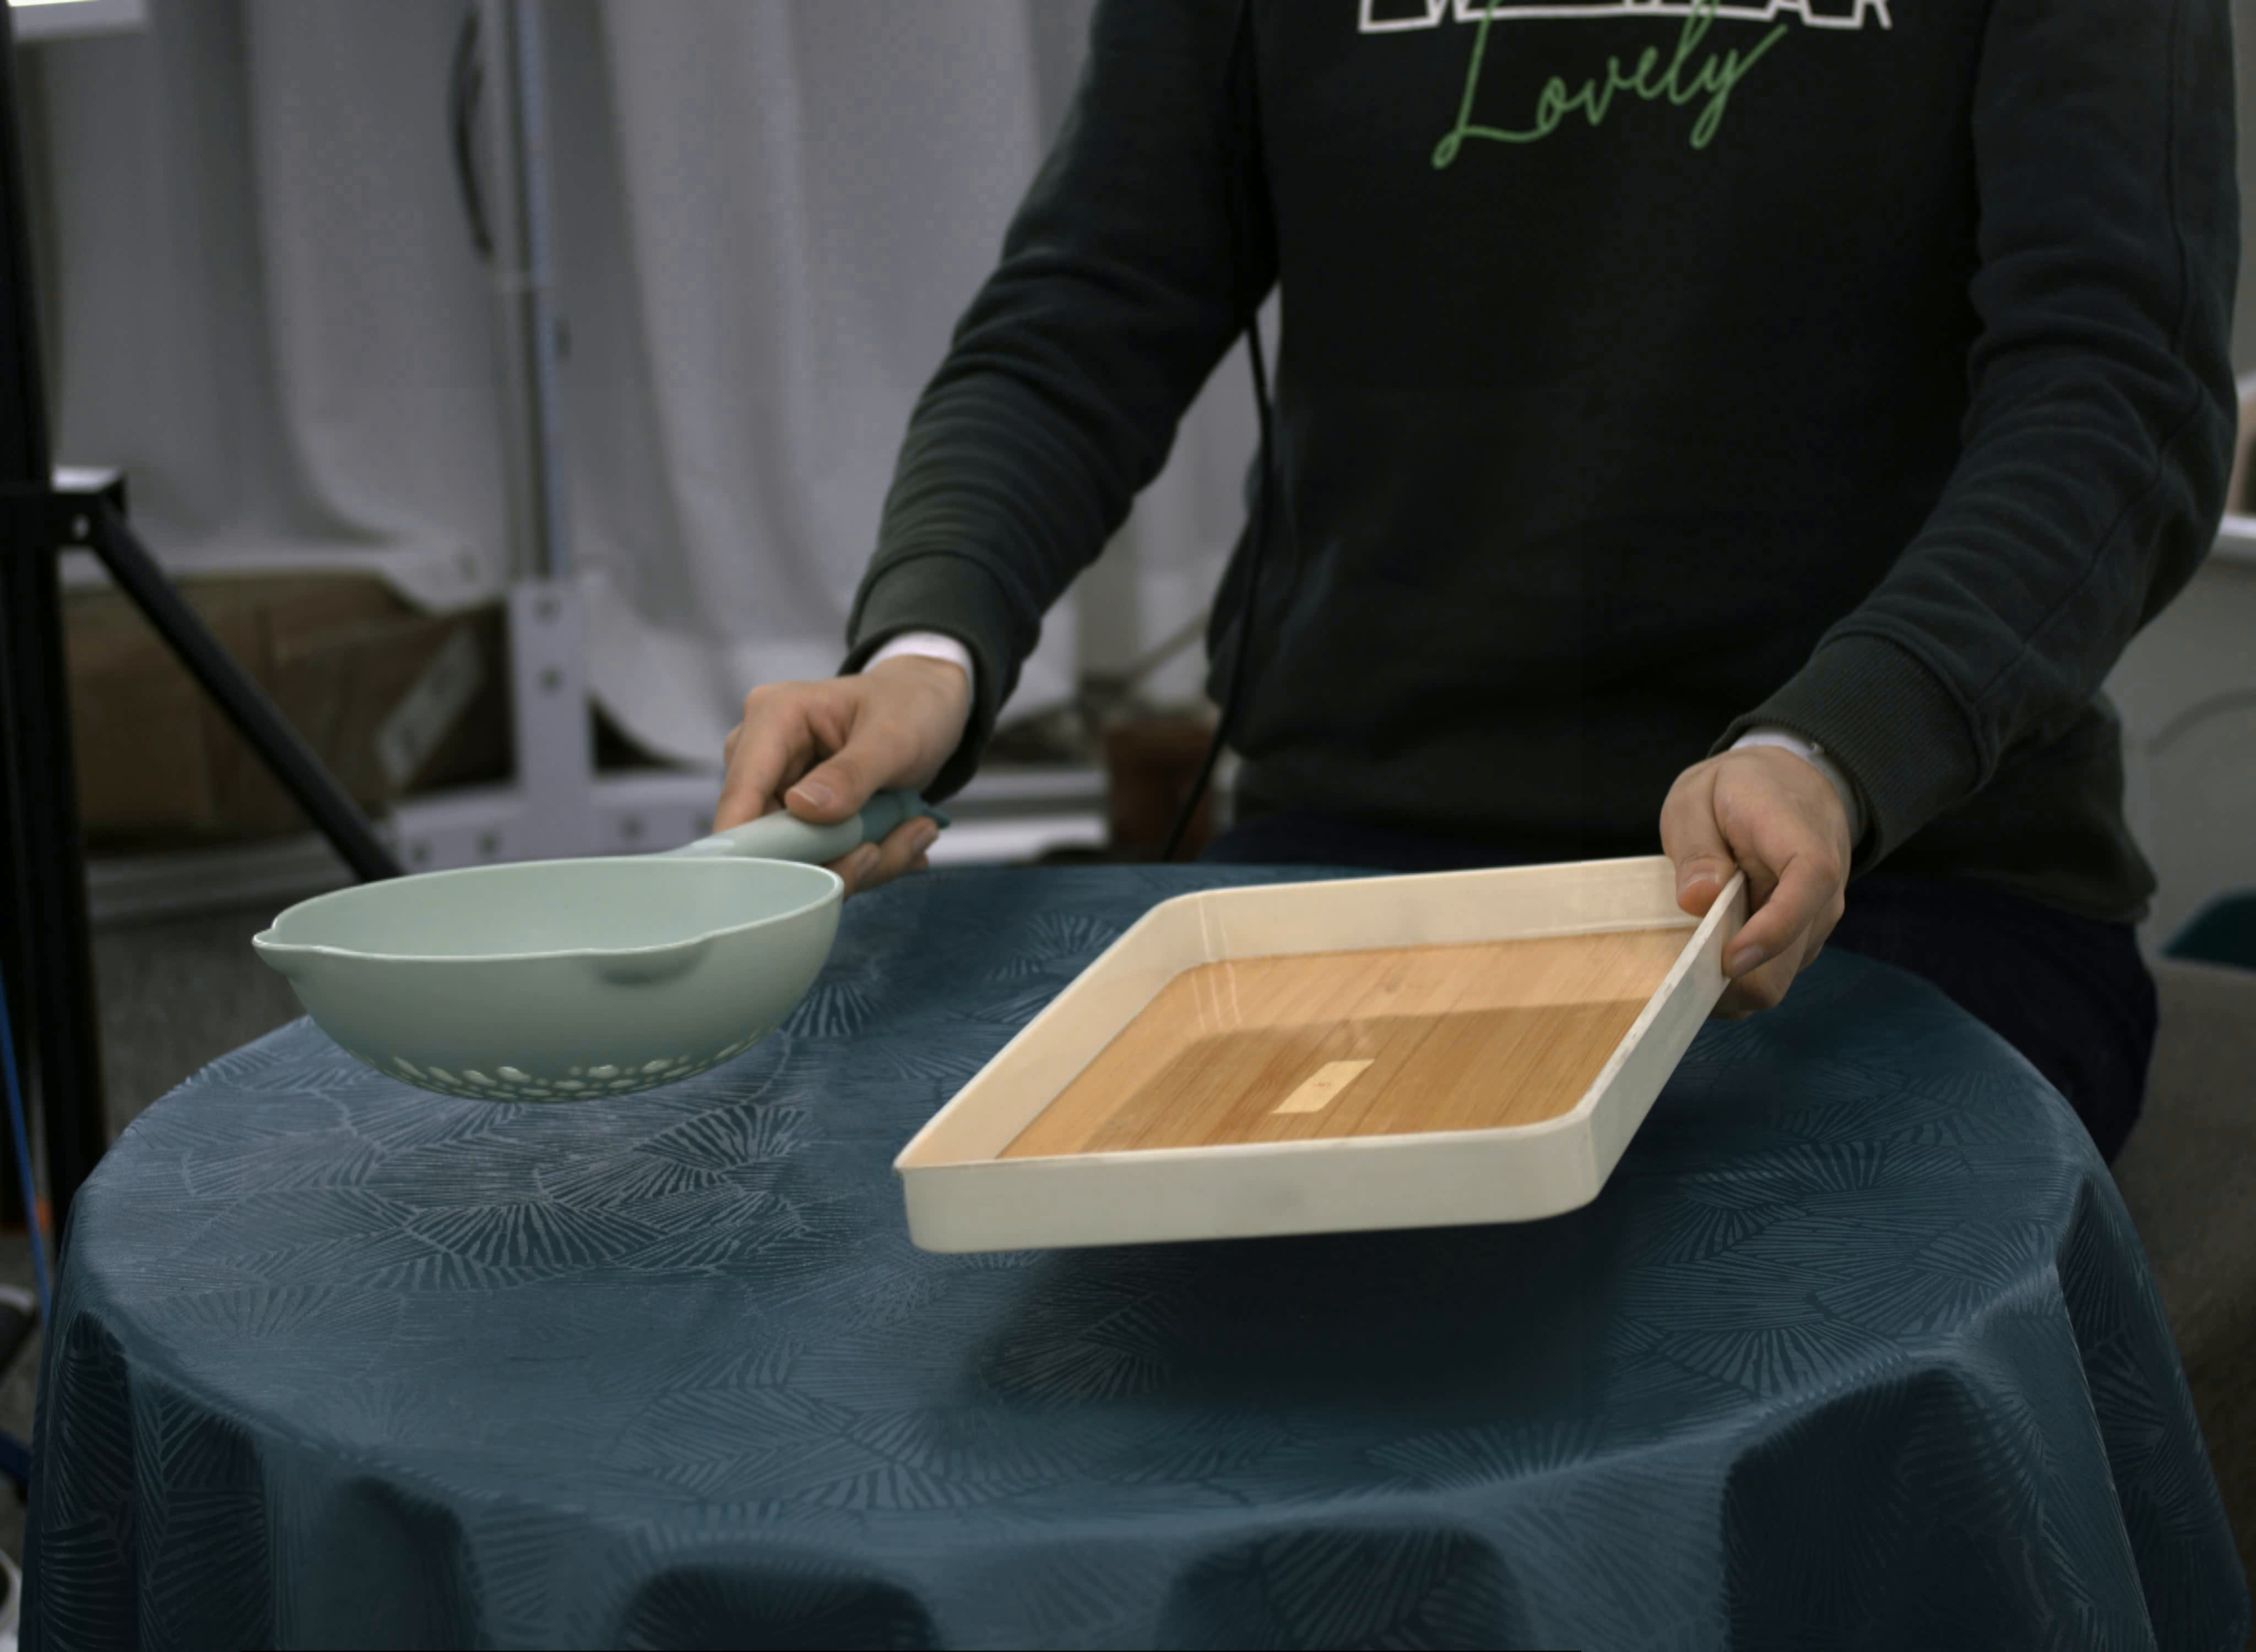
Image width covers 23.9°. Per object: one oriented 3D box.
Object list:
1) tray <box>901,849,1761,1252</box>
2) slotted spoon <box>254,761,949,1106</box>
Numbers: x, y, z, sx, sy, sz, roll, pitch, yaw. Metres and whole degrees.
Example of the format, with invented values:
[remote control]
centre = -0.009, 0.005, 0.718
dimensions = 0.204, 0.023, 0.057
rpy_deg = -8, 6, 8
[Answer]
[tray]
centre = 0.066, 0.061, 1.506
dimensions = 0.193, 0.027, 0.297
rpy_deg = -5, 13, 18
[slotted spoon]
centre = -0.132, 0.018, 1.661
dimensions = 0.171, 0.075, 0.355
rpy_deg = 0, 18, 21
